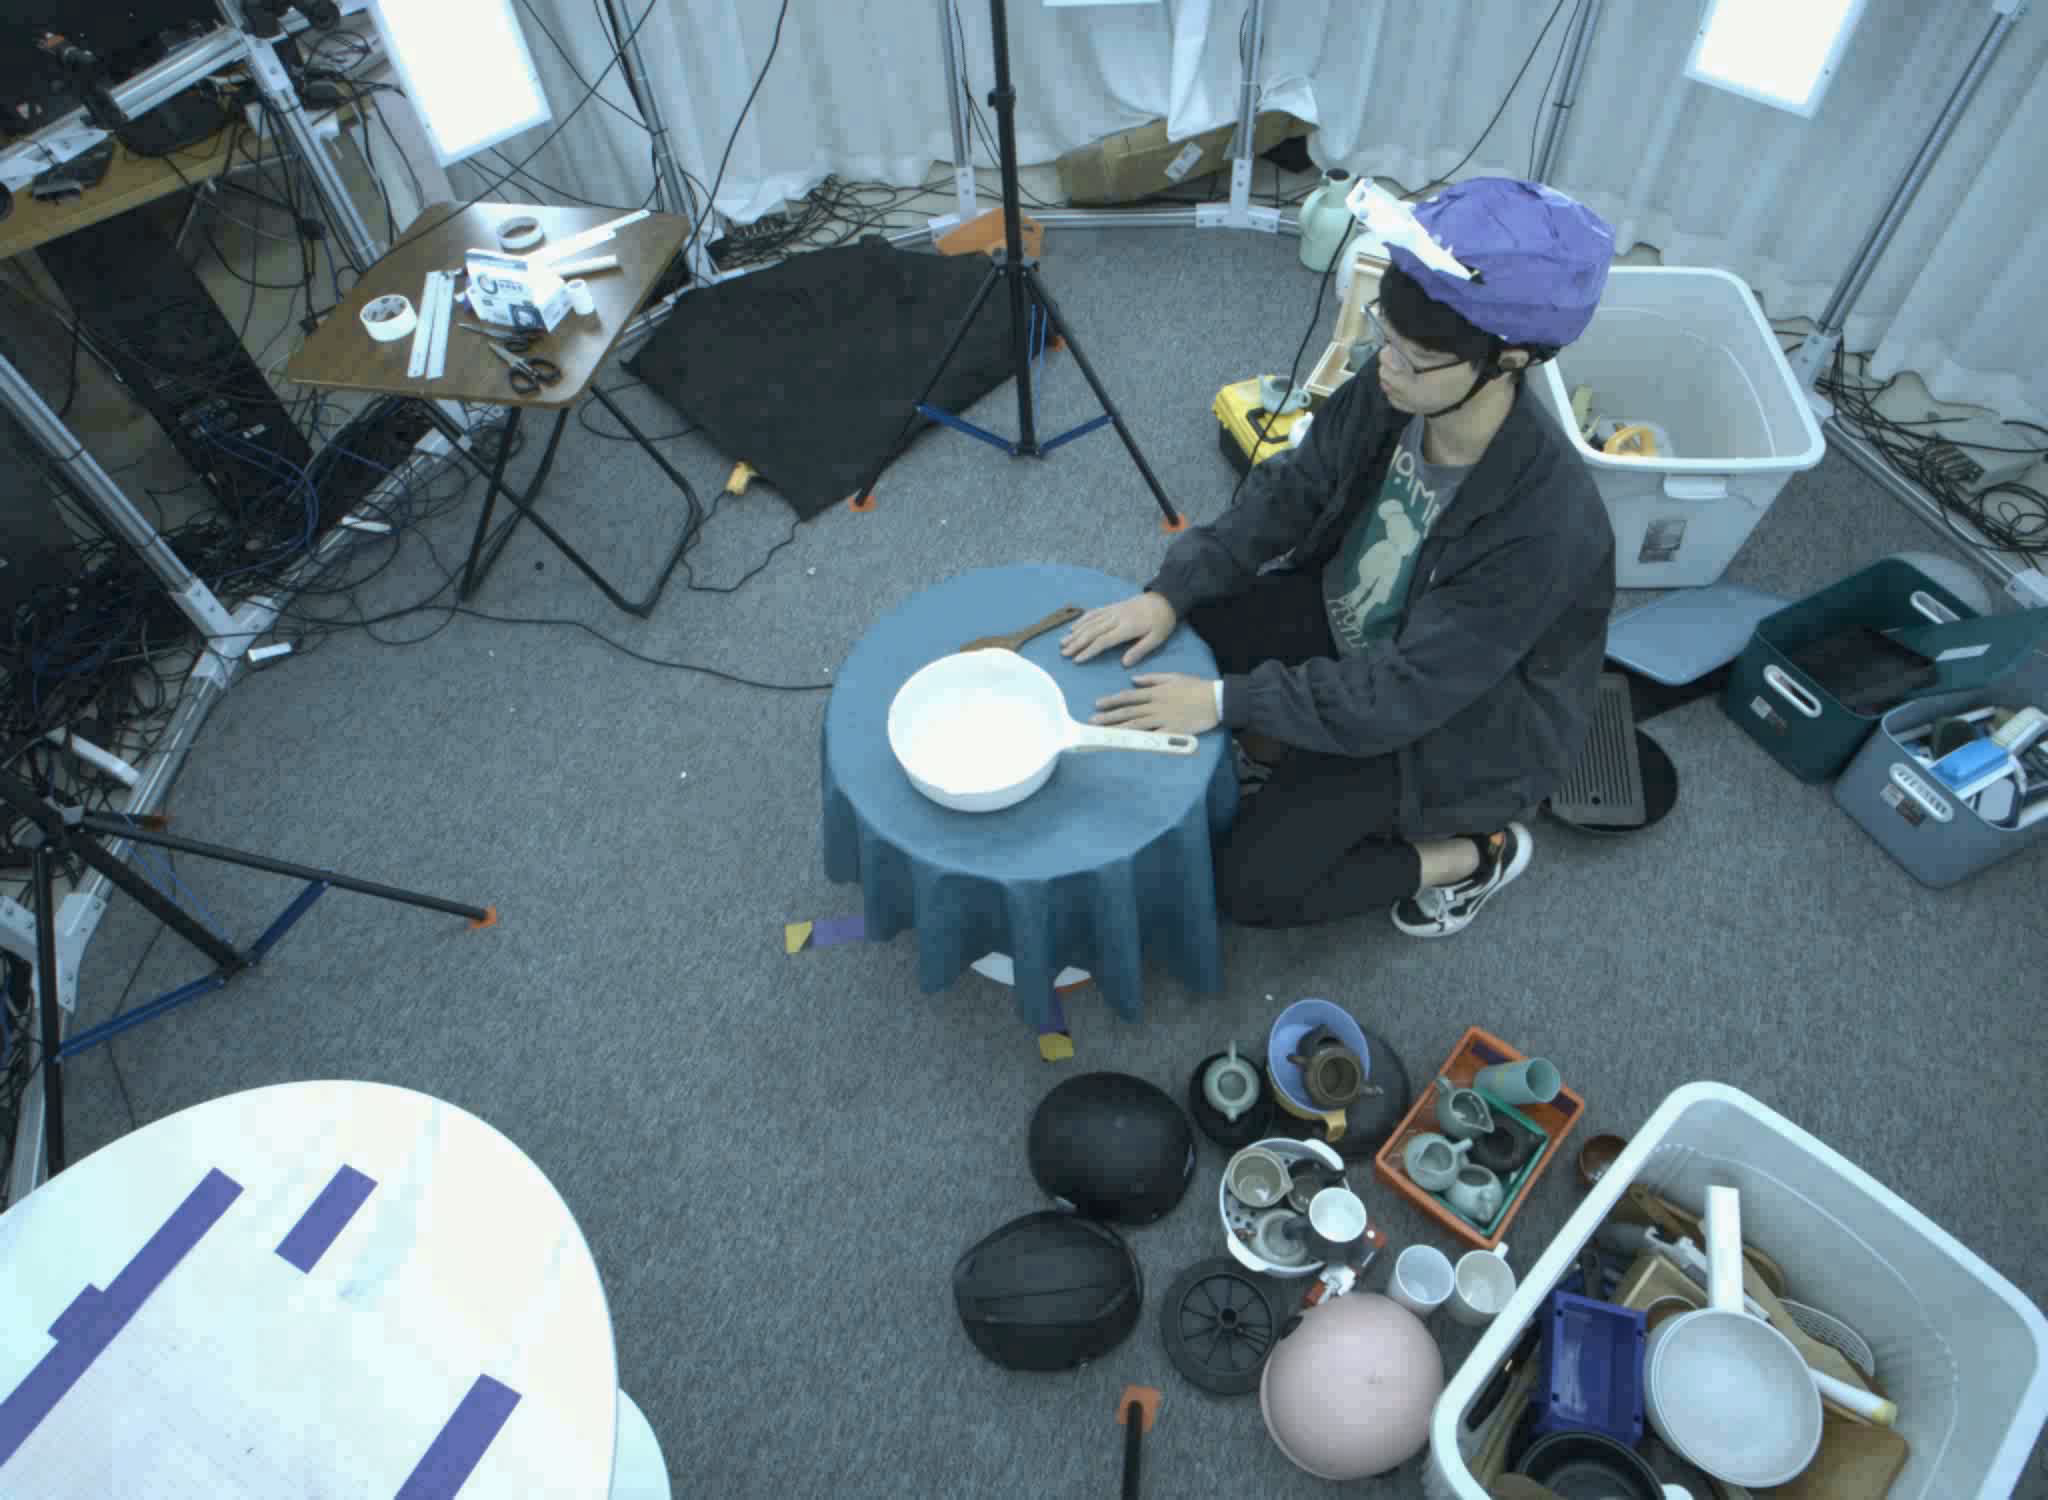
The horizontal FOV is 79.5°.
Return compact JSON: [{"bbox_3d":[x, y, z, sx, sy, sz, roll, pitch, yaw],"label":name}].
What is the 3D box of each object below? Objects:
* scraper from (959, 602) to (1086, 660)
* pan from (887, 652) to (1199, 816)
[{"bbox_3d":[0.003,-0.179,1.902,0.213,0.011,0.074,-28,59,-18],"label":"scraper"},{"bbox_3d":[0.025,-0.006,1.722,0.432,0.103,0.262,9,54,8],"label":"pan"}]
